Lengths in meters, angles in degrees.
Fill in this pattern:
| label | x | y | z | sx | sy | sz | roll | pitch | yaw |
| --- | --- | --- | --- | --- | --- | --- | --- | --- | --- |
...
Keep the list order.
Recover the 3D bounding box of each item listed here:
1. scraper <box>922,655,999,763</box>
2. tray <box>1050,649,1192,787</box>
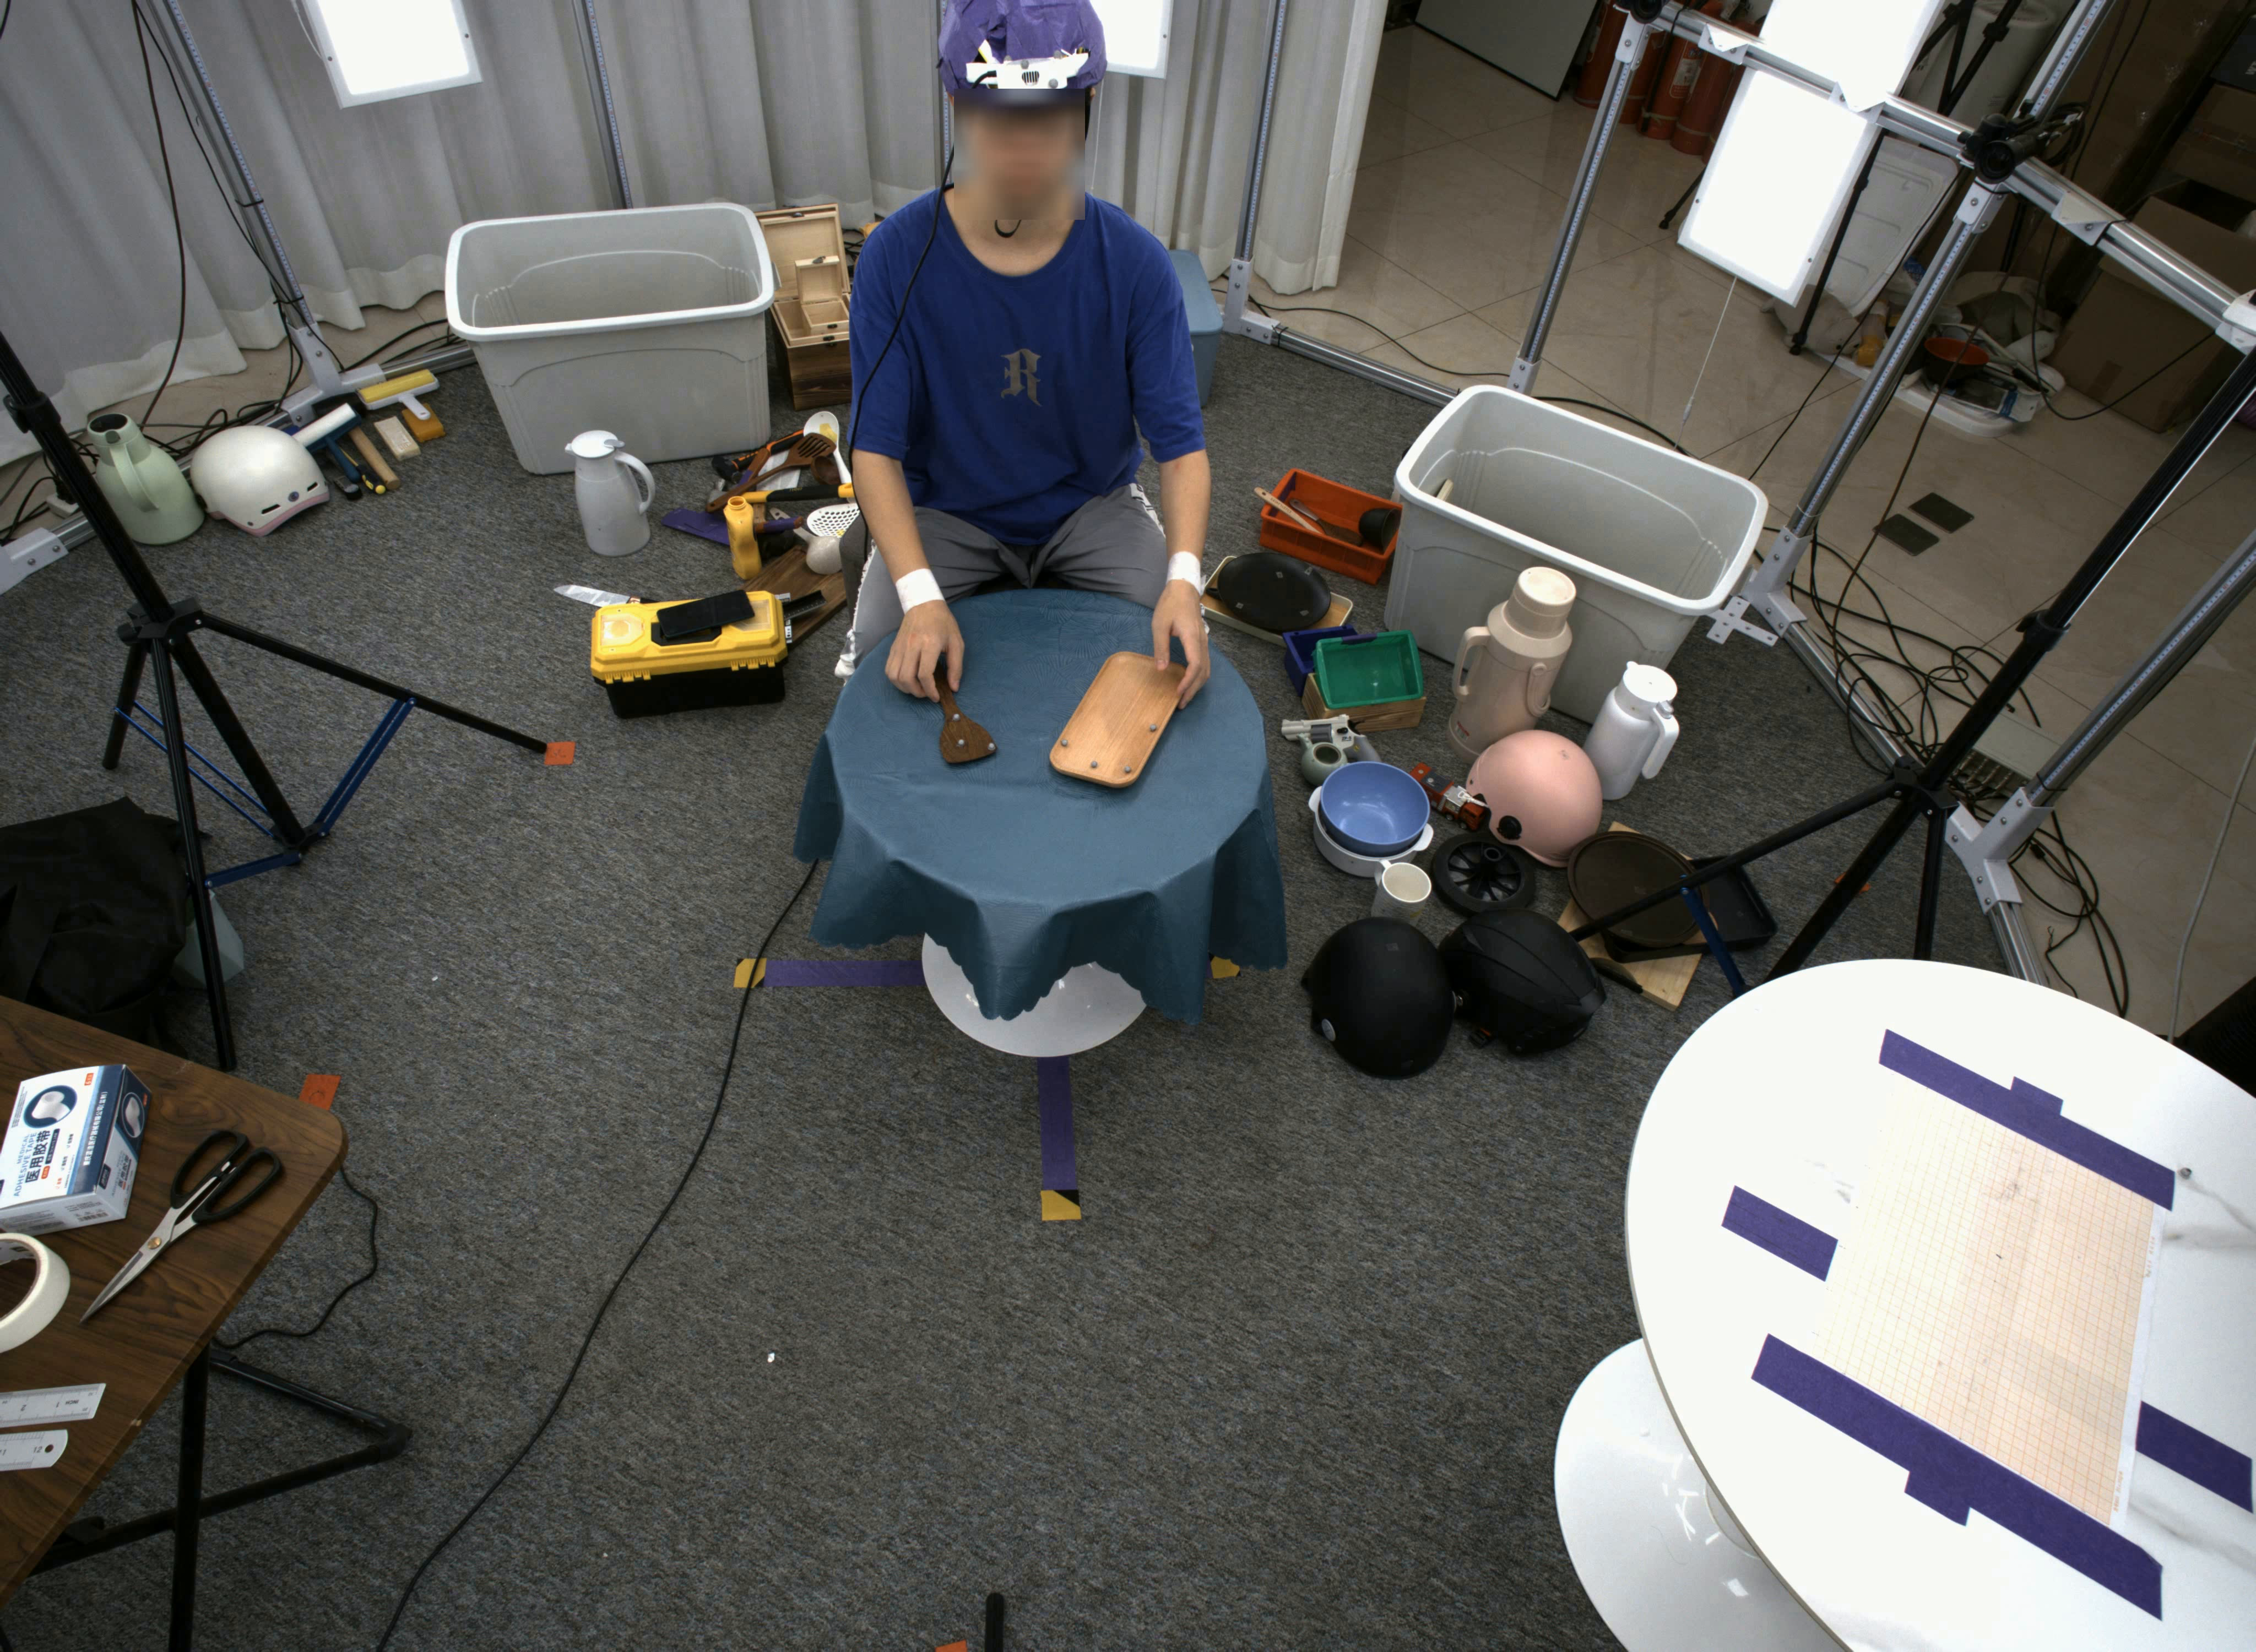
| label | x | y | z | sx | sy | sz | roll | pitch | yaw |
| --- | --- | --- | --- | --- | --- | --- | --- | --- | --- |
| scraper | -0.245 | -0.166 | 1.793 | 0.076 | 0.010 | 0.216 | -14 | 52 | -17 |
| tray | -0.007 | -0.154 | 1.785 | 0.131 | 0.022 | 0.255 | 18 | 51 | 15 |
